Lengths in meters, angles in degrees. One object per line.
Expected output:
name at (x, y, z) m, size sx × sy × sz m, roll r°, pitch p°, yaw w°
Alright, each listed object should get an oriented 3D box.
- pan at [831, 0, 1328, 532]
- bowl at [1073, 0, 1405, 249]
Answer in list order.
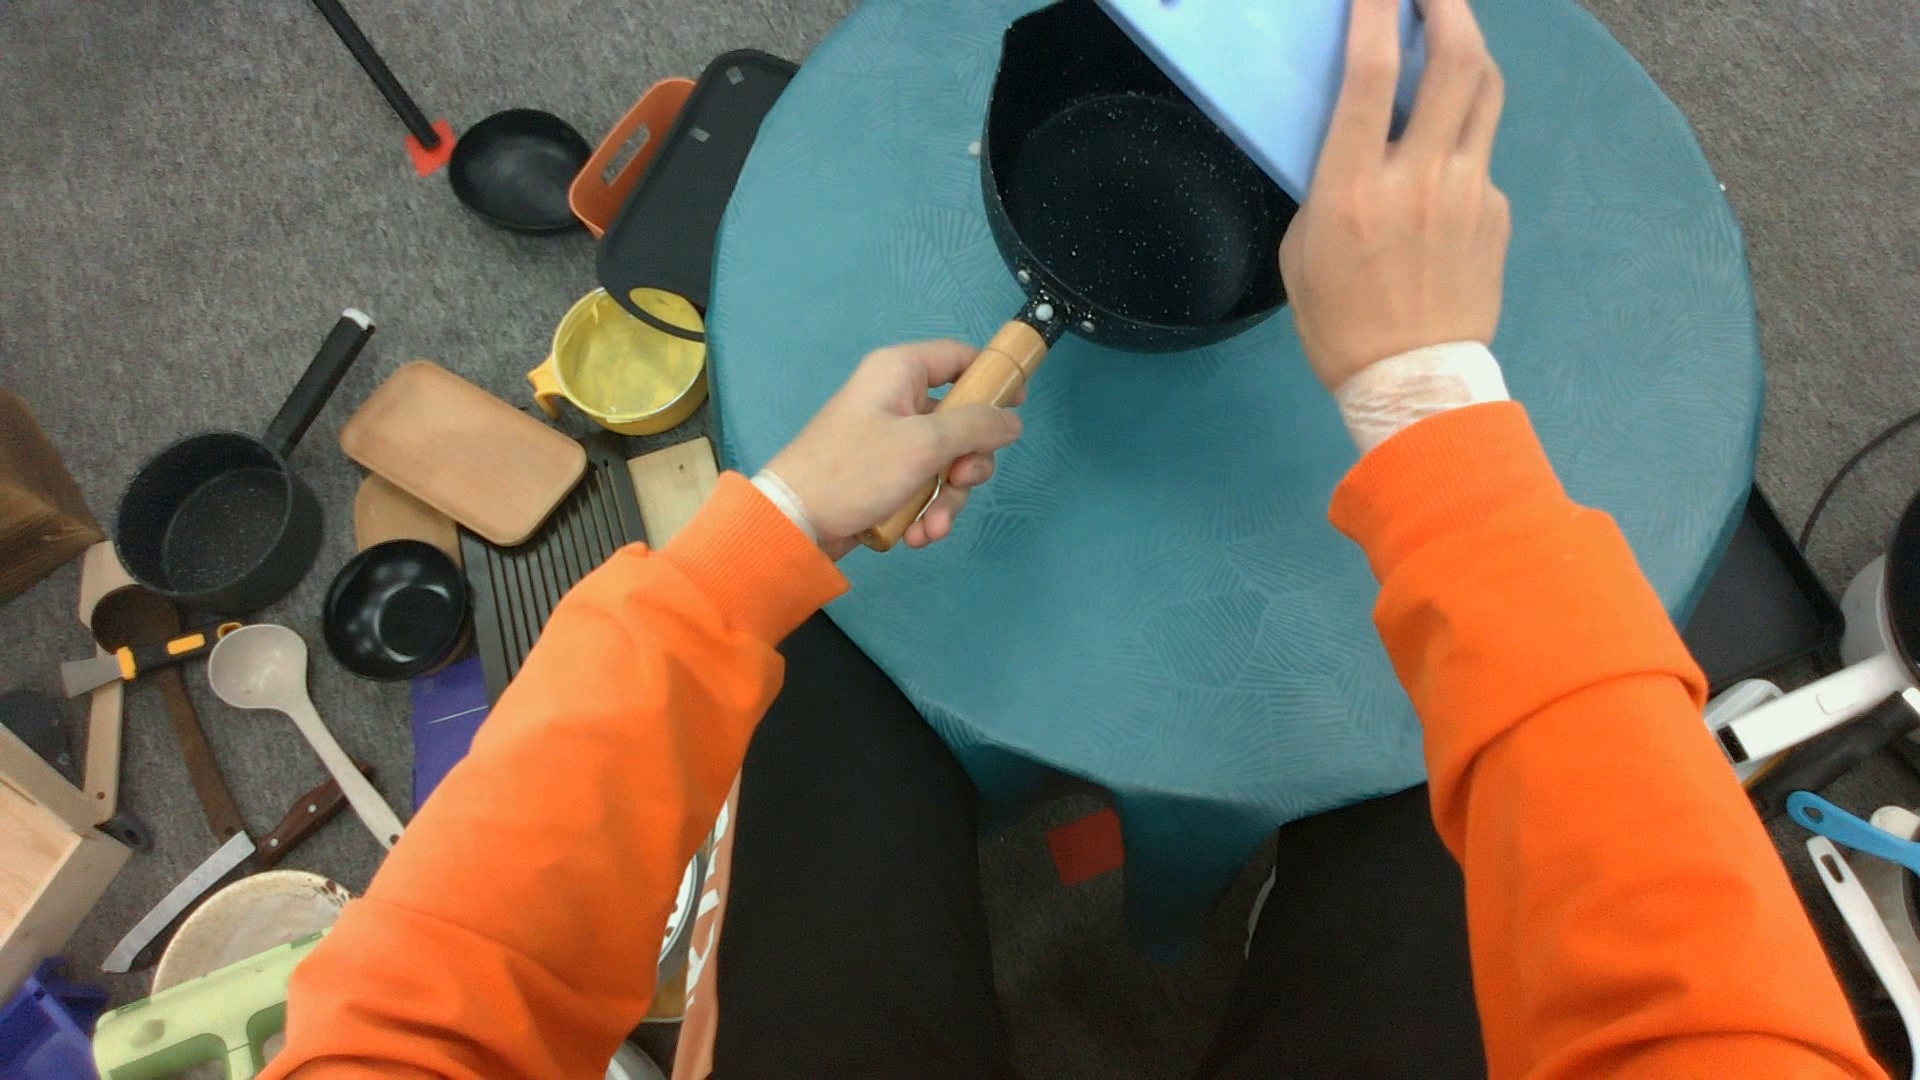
pan at (0.048, -0.131, 0.682) m, size 0.207 × 0.108 × 0.343 m, roll 36°, pitch 76°, yaw 0°
bowl at (0.128, -0.231, 0.607) m, size 0.095 × 0.197 × 0.196 m, roll -44°, pitch 72°, yaw 18°
